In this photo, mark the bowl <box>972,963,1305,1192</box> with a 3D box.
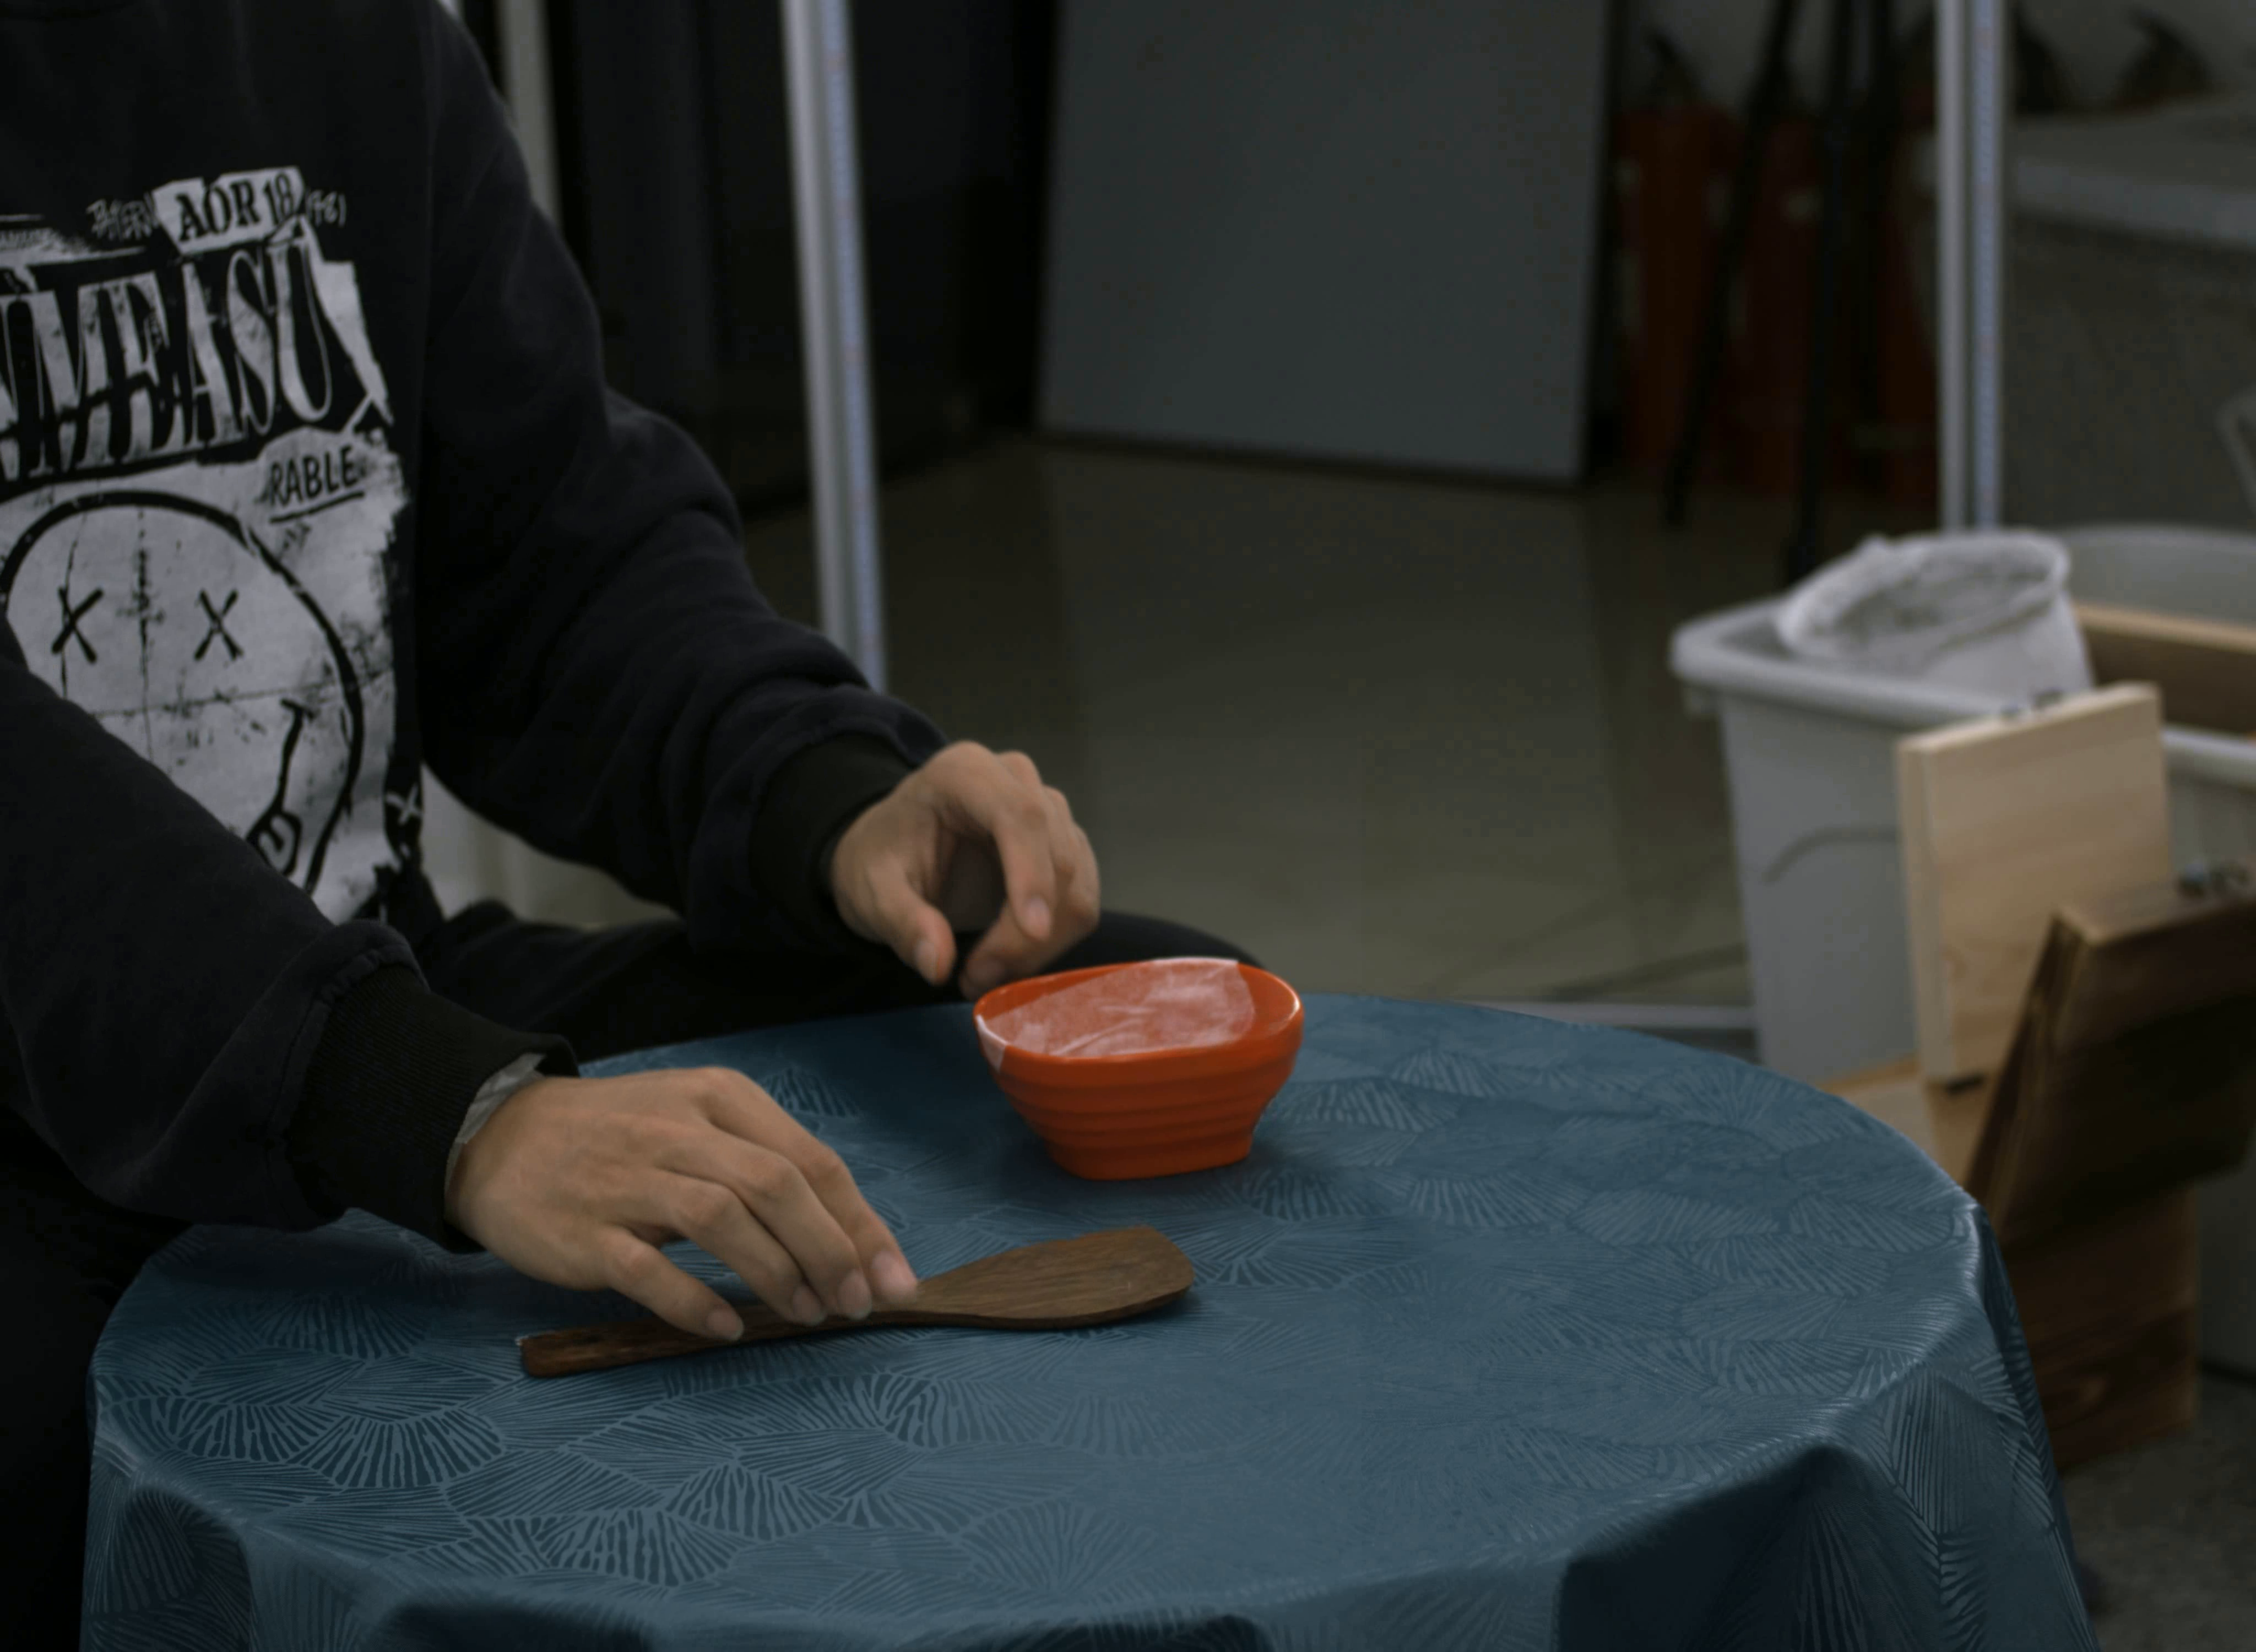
[{"bbox_3d":[0.005,0.087,1.809,0.117,0.052,0.119,-4,15,0],"label":"bowl"}]

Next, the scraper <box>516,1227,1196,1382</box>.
[{"bbox_3d":[-0.084,0.151,1.661,0.207,0.011,0.076,-8,13,-11],"label":"scraper"}]
